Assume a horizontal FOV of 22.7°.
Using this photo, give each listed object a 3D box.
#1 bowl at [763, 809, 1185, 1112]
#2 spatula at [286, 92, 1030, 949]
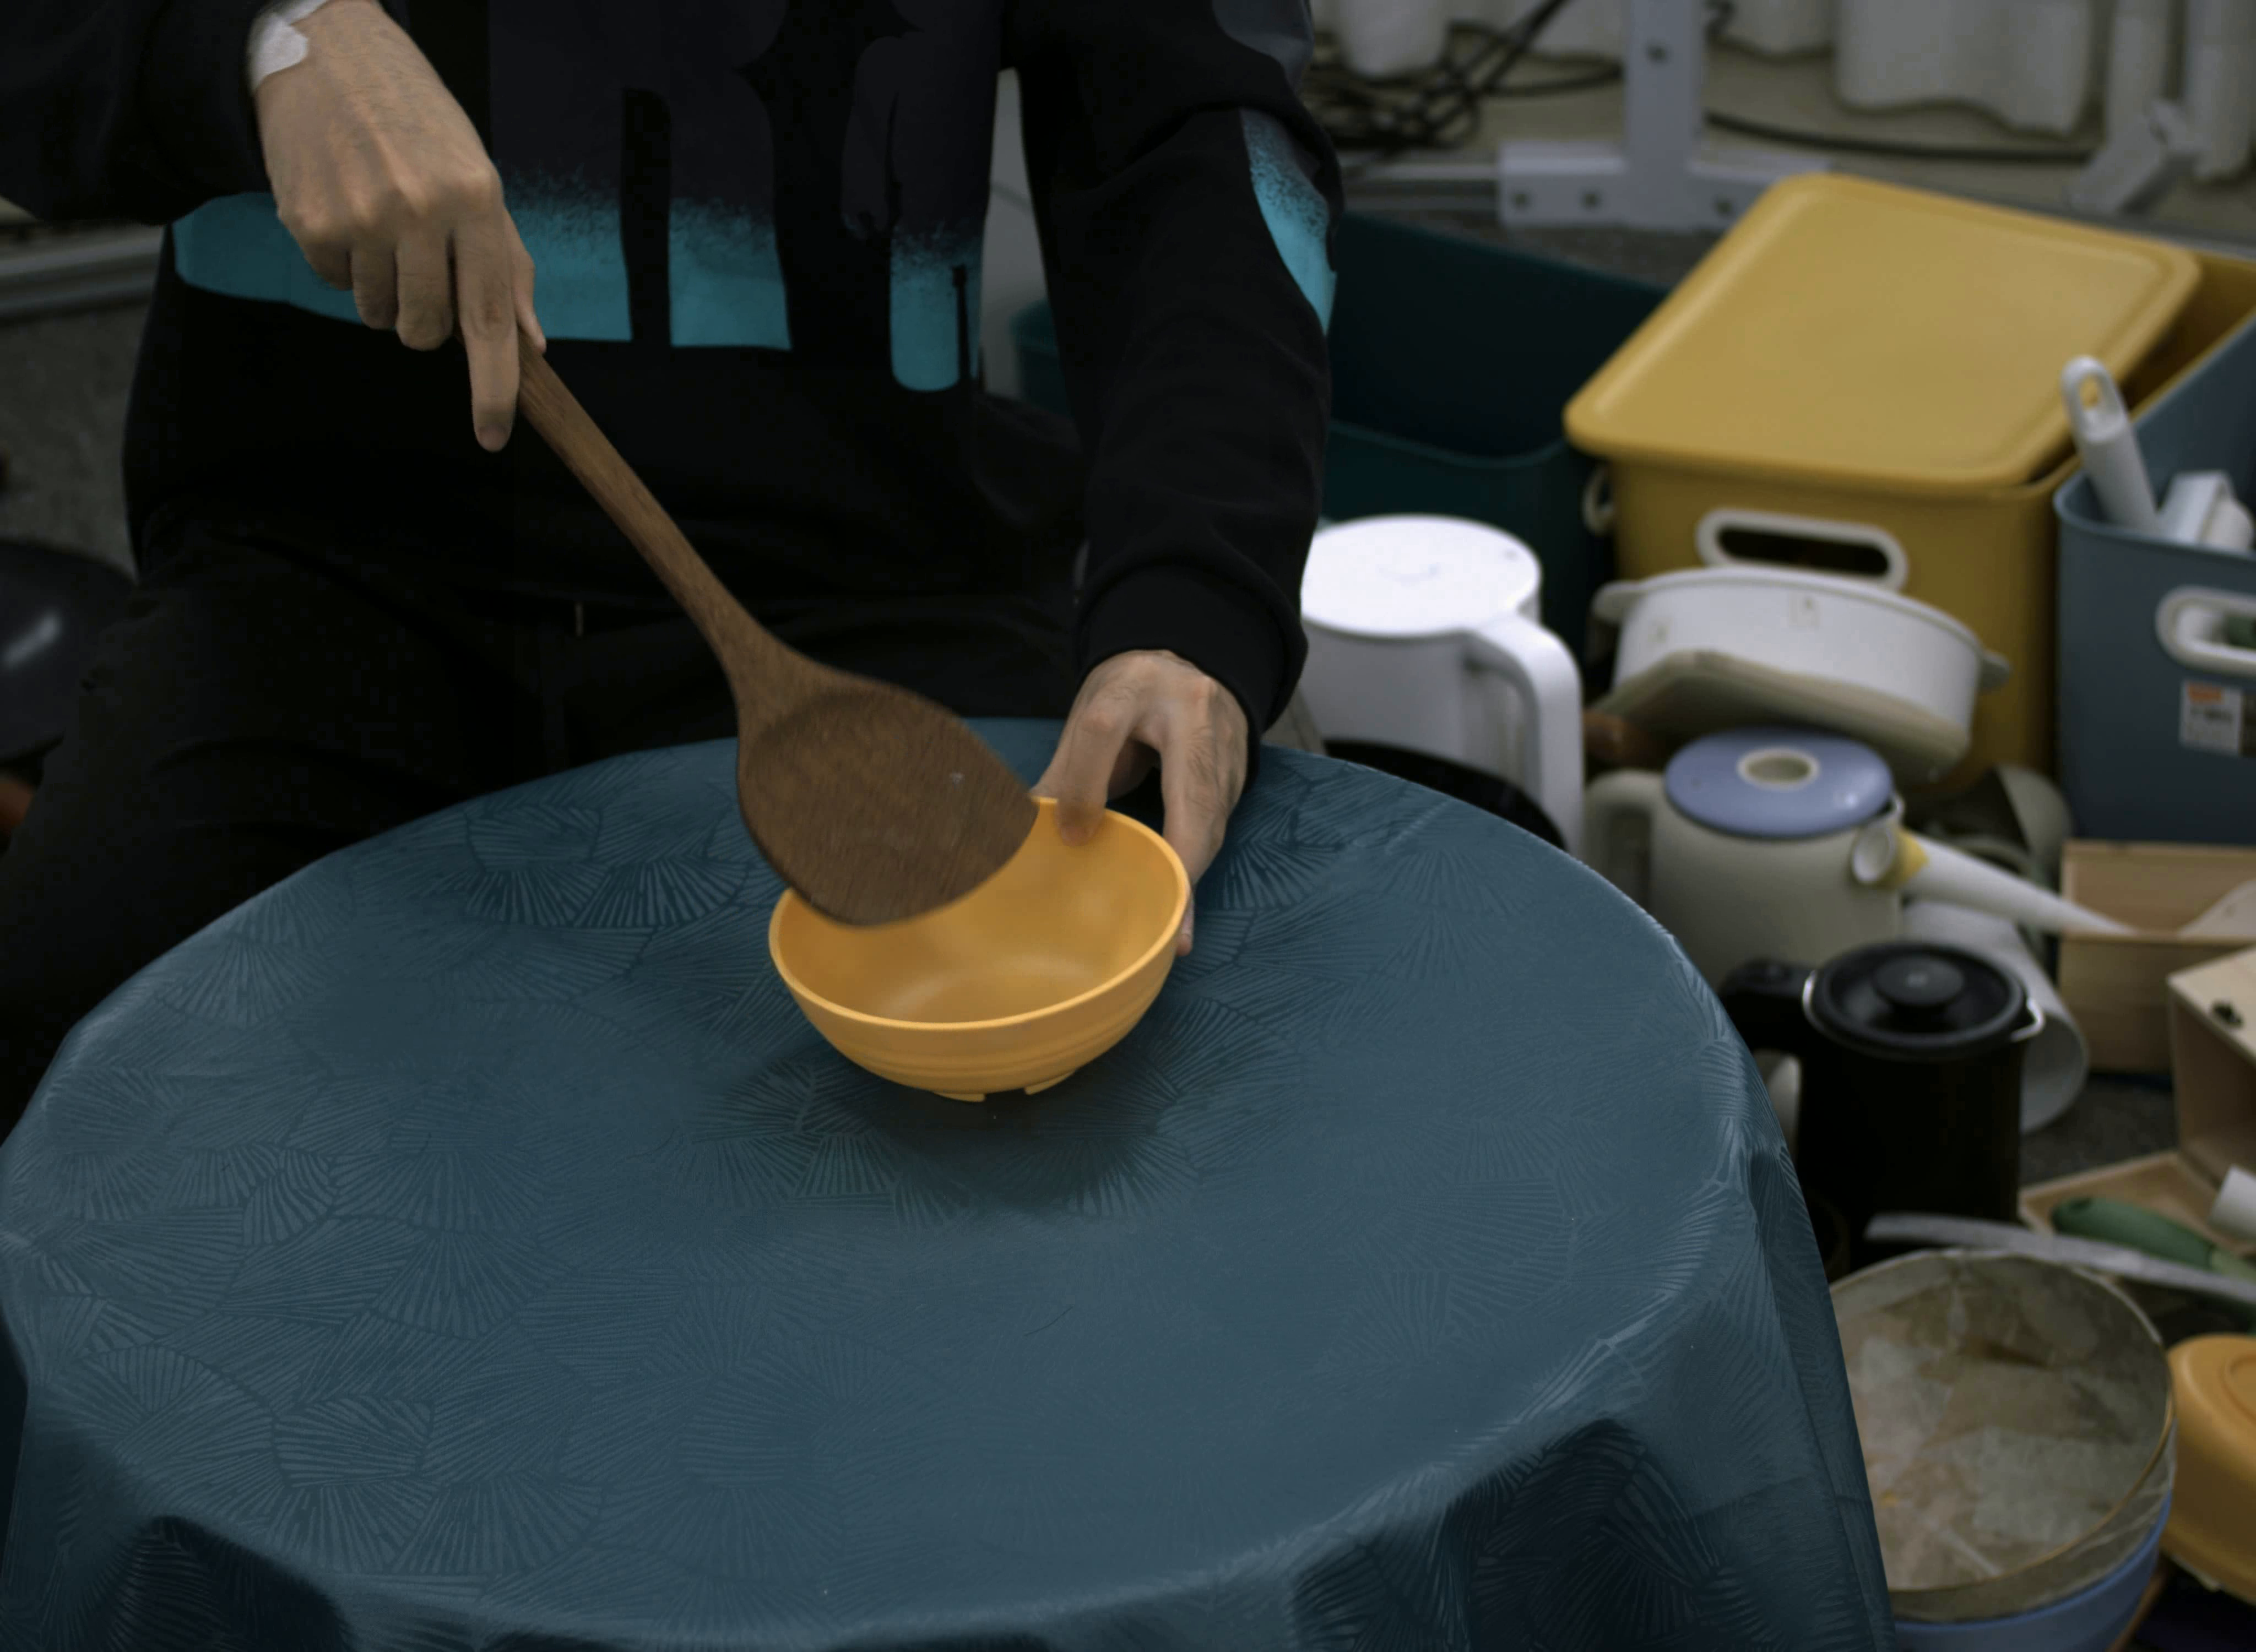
[{"bbox_3d":[-0.051,0.056,1.928,0.144,0.059,0.147,-3,29,2],"label":"bowl"},{"bbox_3d":[-0.176,-0.113,1.948,0.097,0.015,0.388,-29,73,-33],"label":"spatula"}]
